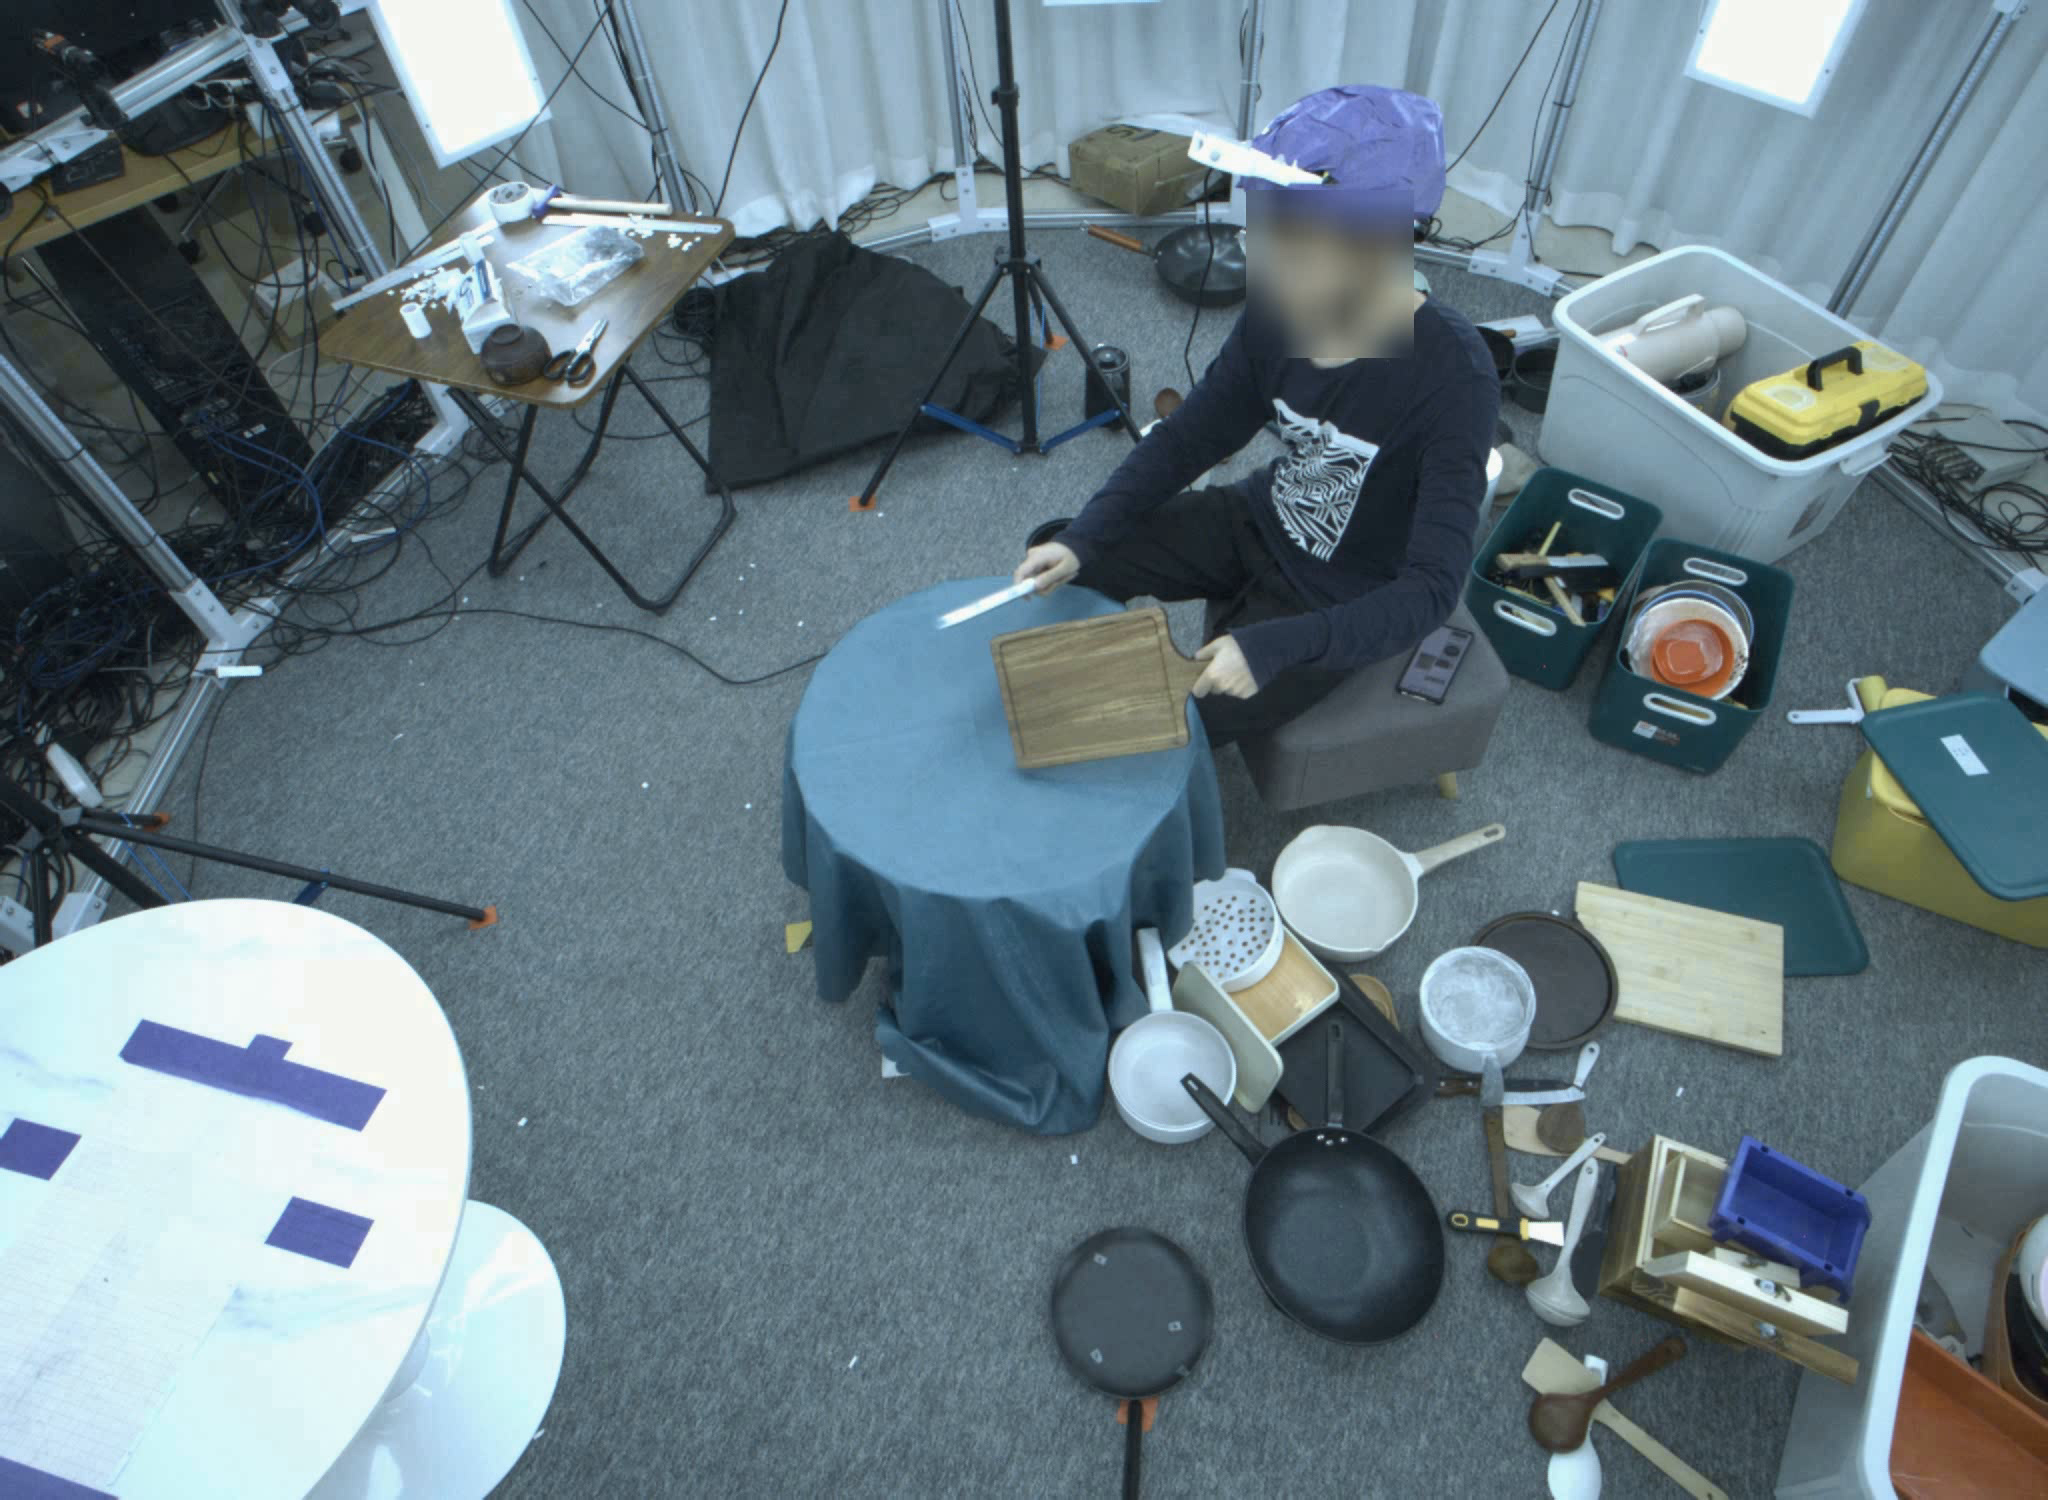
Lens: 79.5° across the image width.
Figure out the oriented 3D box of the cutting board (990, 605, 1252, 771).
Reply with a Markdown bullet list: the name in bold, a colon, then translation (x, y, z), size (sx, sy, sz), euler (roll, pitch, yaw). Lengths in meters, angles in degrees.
- **cutting board**: translation (0.137, -0.090, 1.692), size (0.348, 0.202, 0.023), euler (-9, 15, 16)

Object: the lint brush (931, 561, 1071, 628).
- **lint brush**: translation (-0.026, -0.232, 1.807), size (0.313, 0.059, 0.021), euler (-30, 97, -46)
